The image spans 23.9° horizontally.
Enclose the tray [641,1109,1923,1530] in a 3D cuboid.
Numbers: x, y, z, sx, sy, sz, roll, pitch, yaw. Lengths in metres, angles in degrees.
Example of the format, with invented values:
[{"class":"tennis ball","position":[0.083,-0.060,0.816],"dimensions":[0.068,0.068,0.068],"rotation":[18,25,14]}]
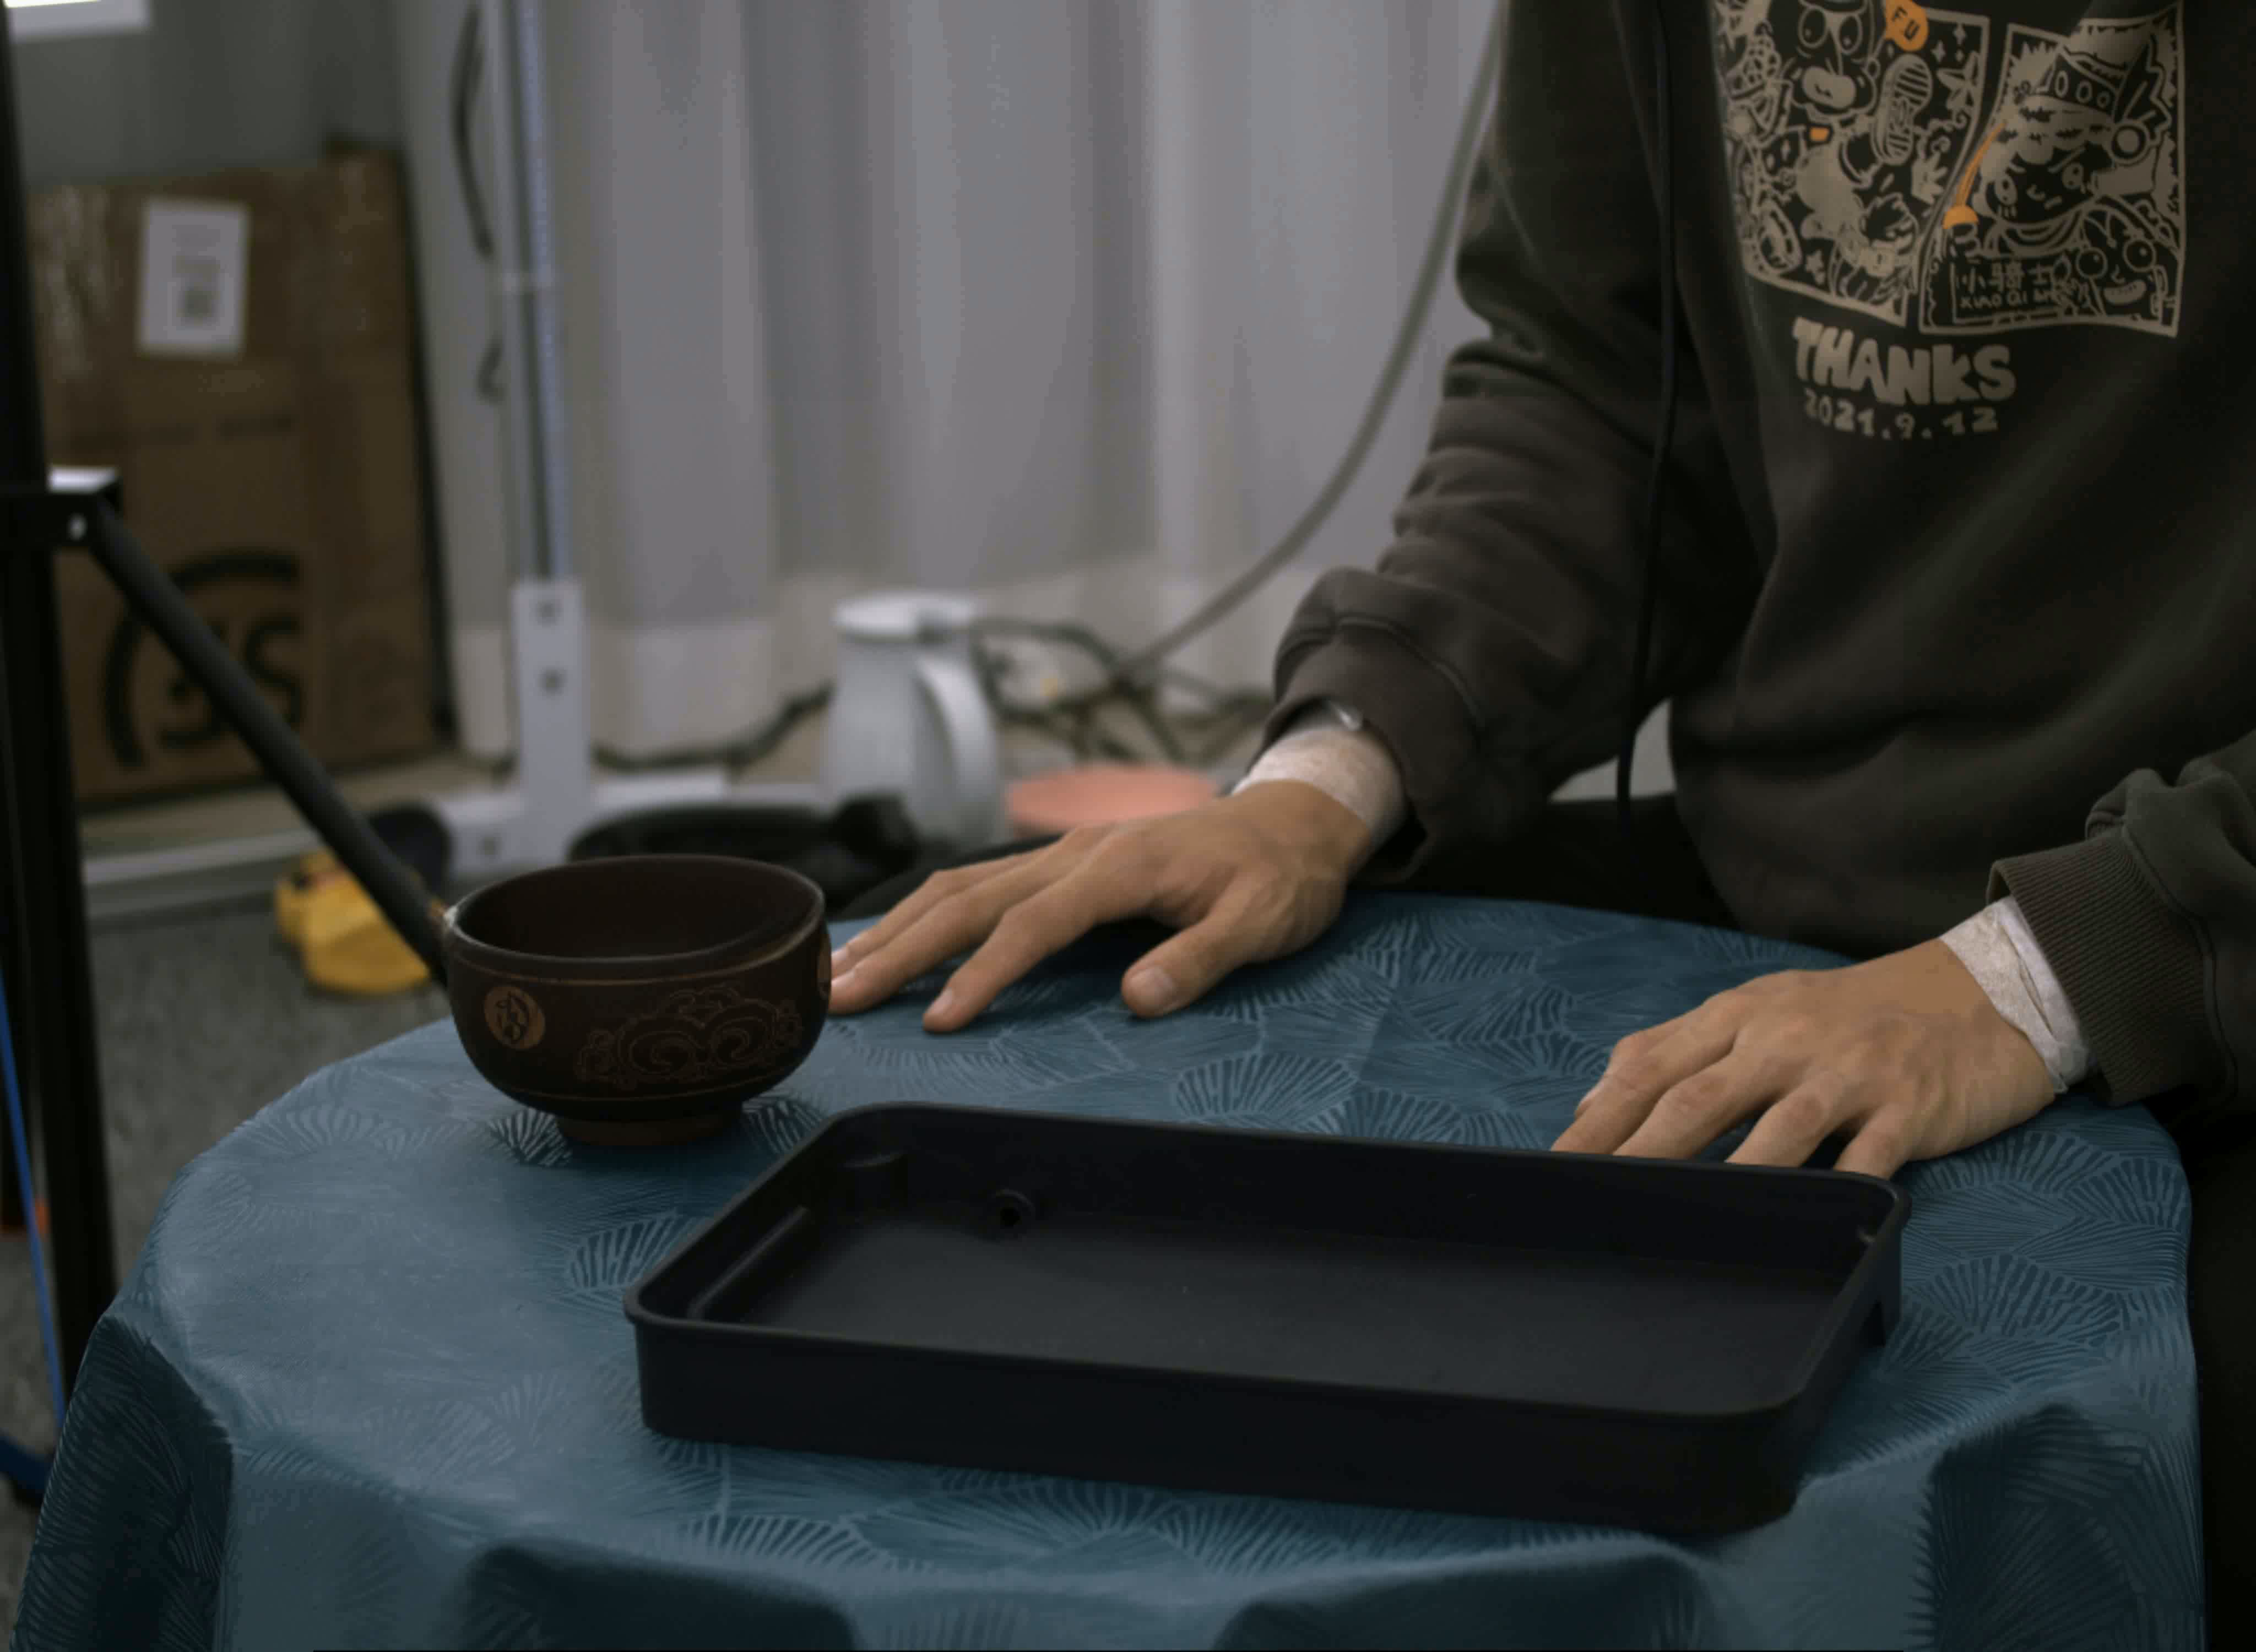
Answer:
[{"class":"tray","position":[0.045,0.128,1.418],"dimensions":[0.321,0.037,0.182],"rotation":[2,16,19]}]

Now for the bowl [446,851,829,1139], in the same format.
[{"class":"bowl","position":[-0.150,0.055,1.643],"dimensions":[0.117,0.070,0.118],"rotation":[-2,14,-1]}]
